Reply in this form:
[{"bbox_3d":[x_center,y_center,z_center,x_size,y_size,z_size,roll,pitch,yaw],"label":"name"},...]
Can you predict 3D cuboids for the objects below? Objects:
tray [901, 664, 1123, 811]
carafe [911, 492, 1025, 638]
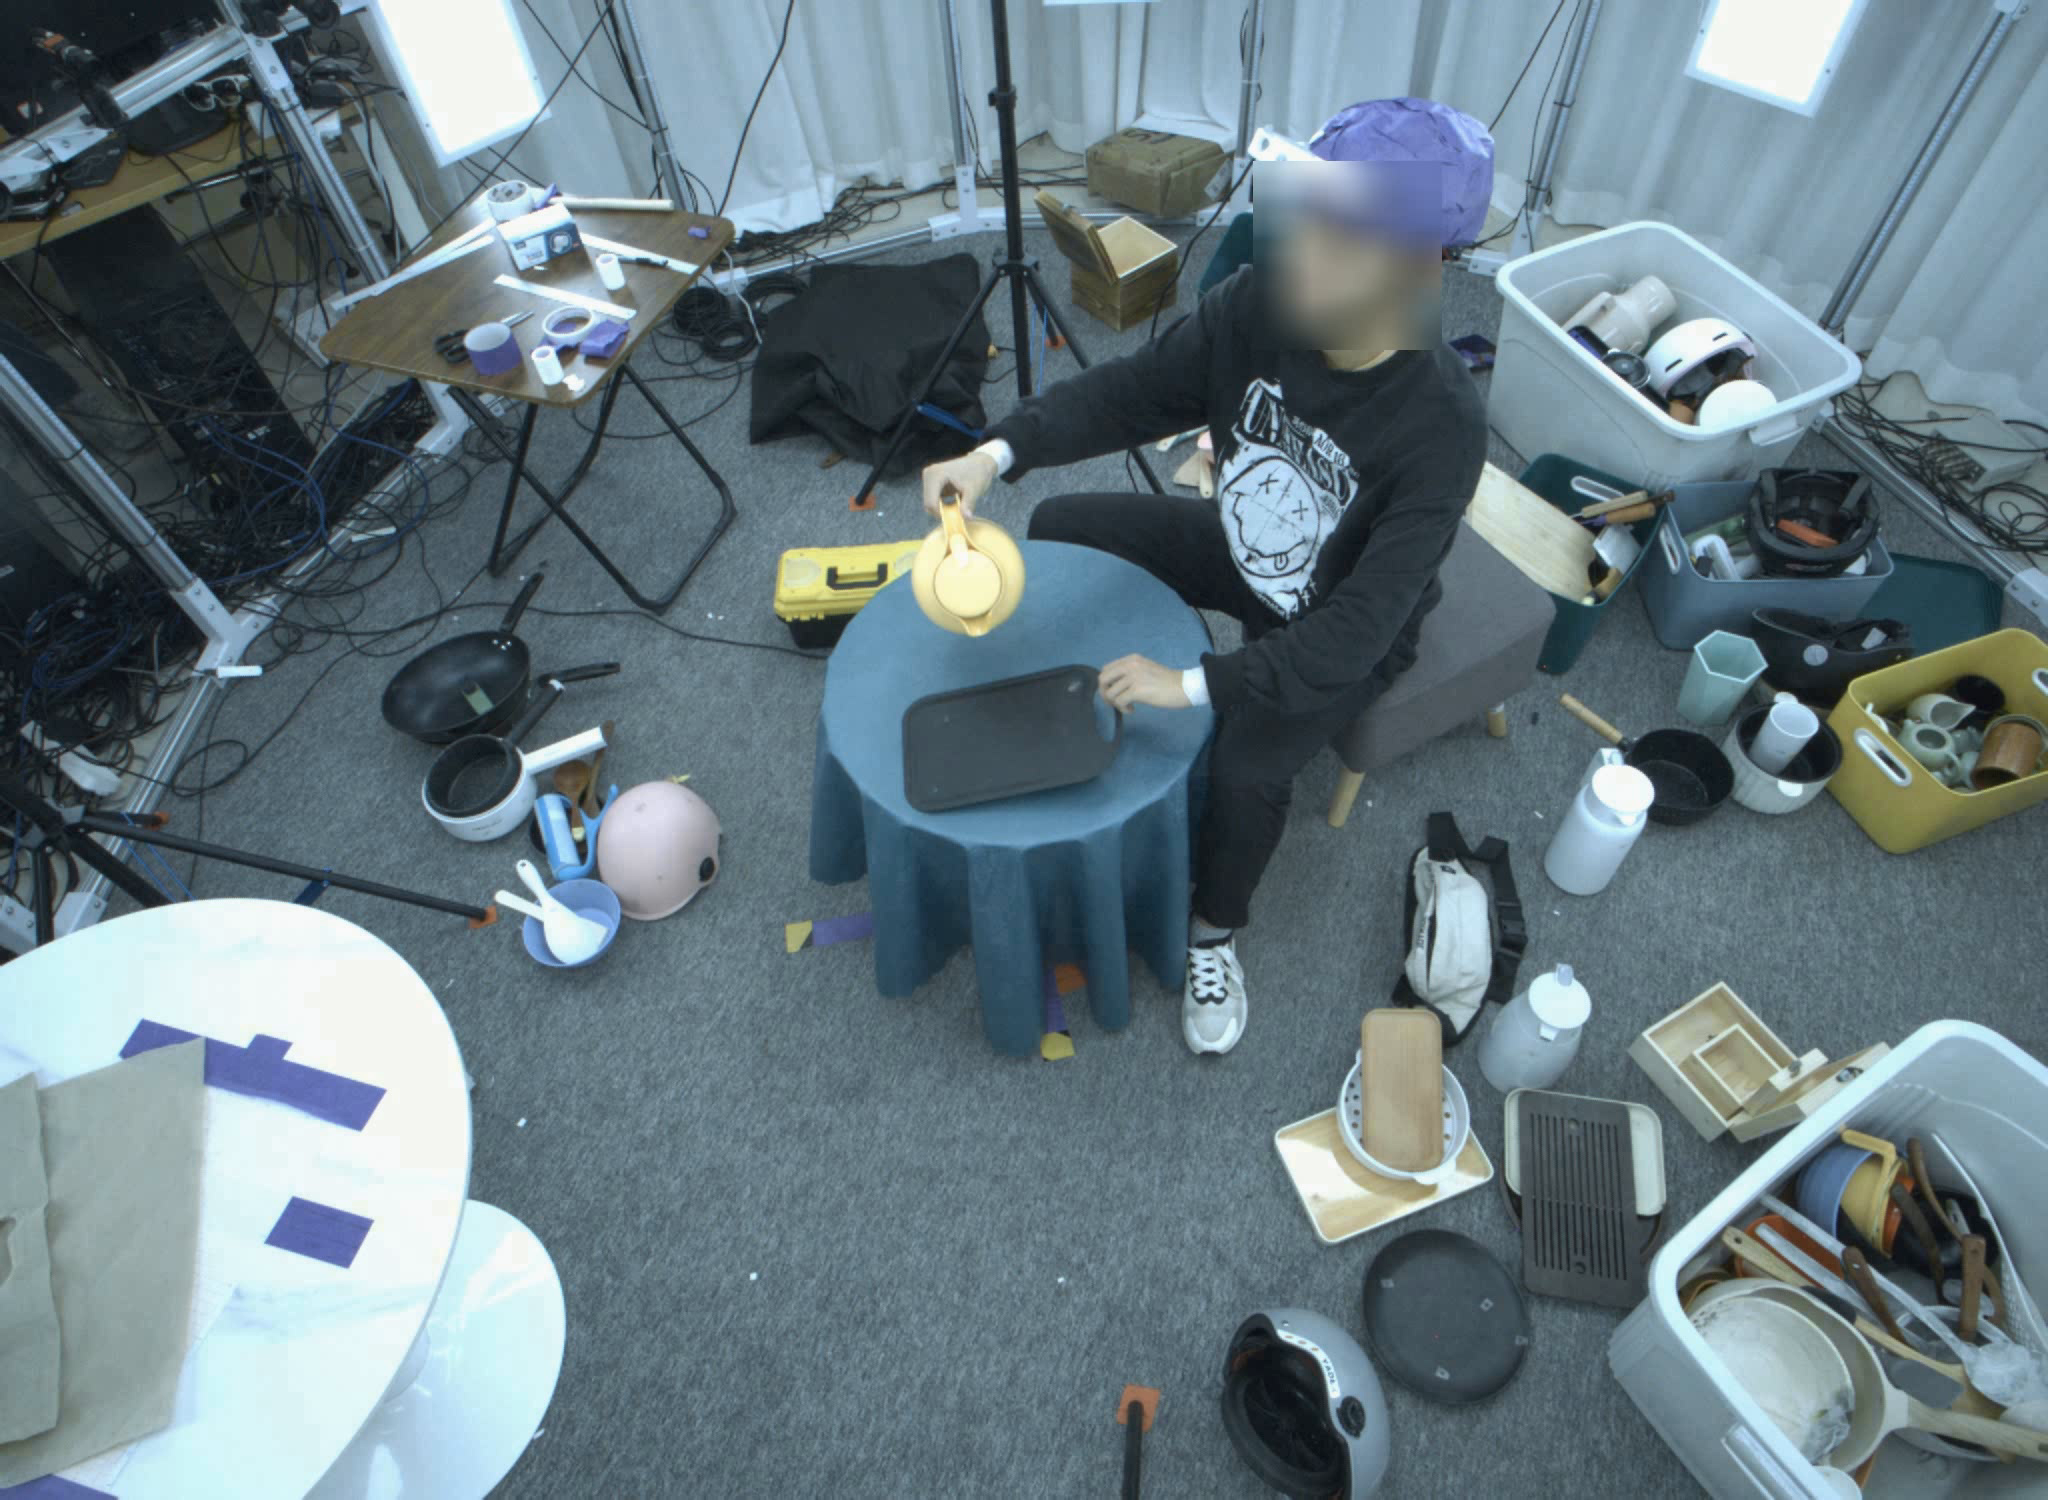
[{"bbox_3d":[-0.020,-0.023,1.765,0.324,0.010,0.208,-11,55,6],"label":"tray"},{"bbox_3d":[-0.082,-0.261,1.718,0.164,0.203,0.258,-11,13,-2],"label":"carafe"}]
